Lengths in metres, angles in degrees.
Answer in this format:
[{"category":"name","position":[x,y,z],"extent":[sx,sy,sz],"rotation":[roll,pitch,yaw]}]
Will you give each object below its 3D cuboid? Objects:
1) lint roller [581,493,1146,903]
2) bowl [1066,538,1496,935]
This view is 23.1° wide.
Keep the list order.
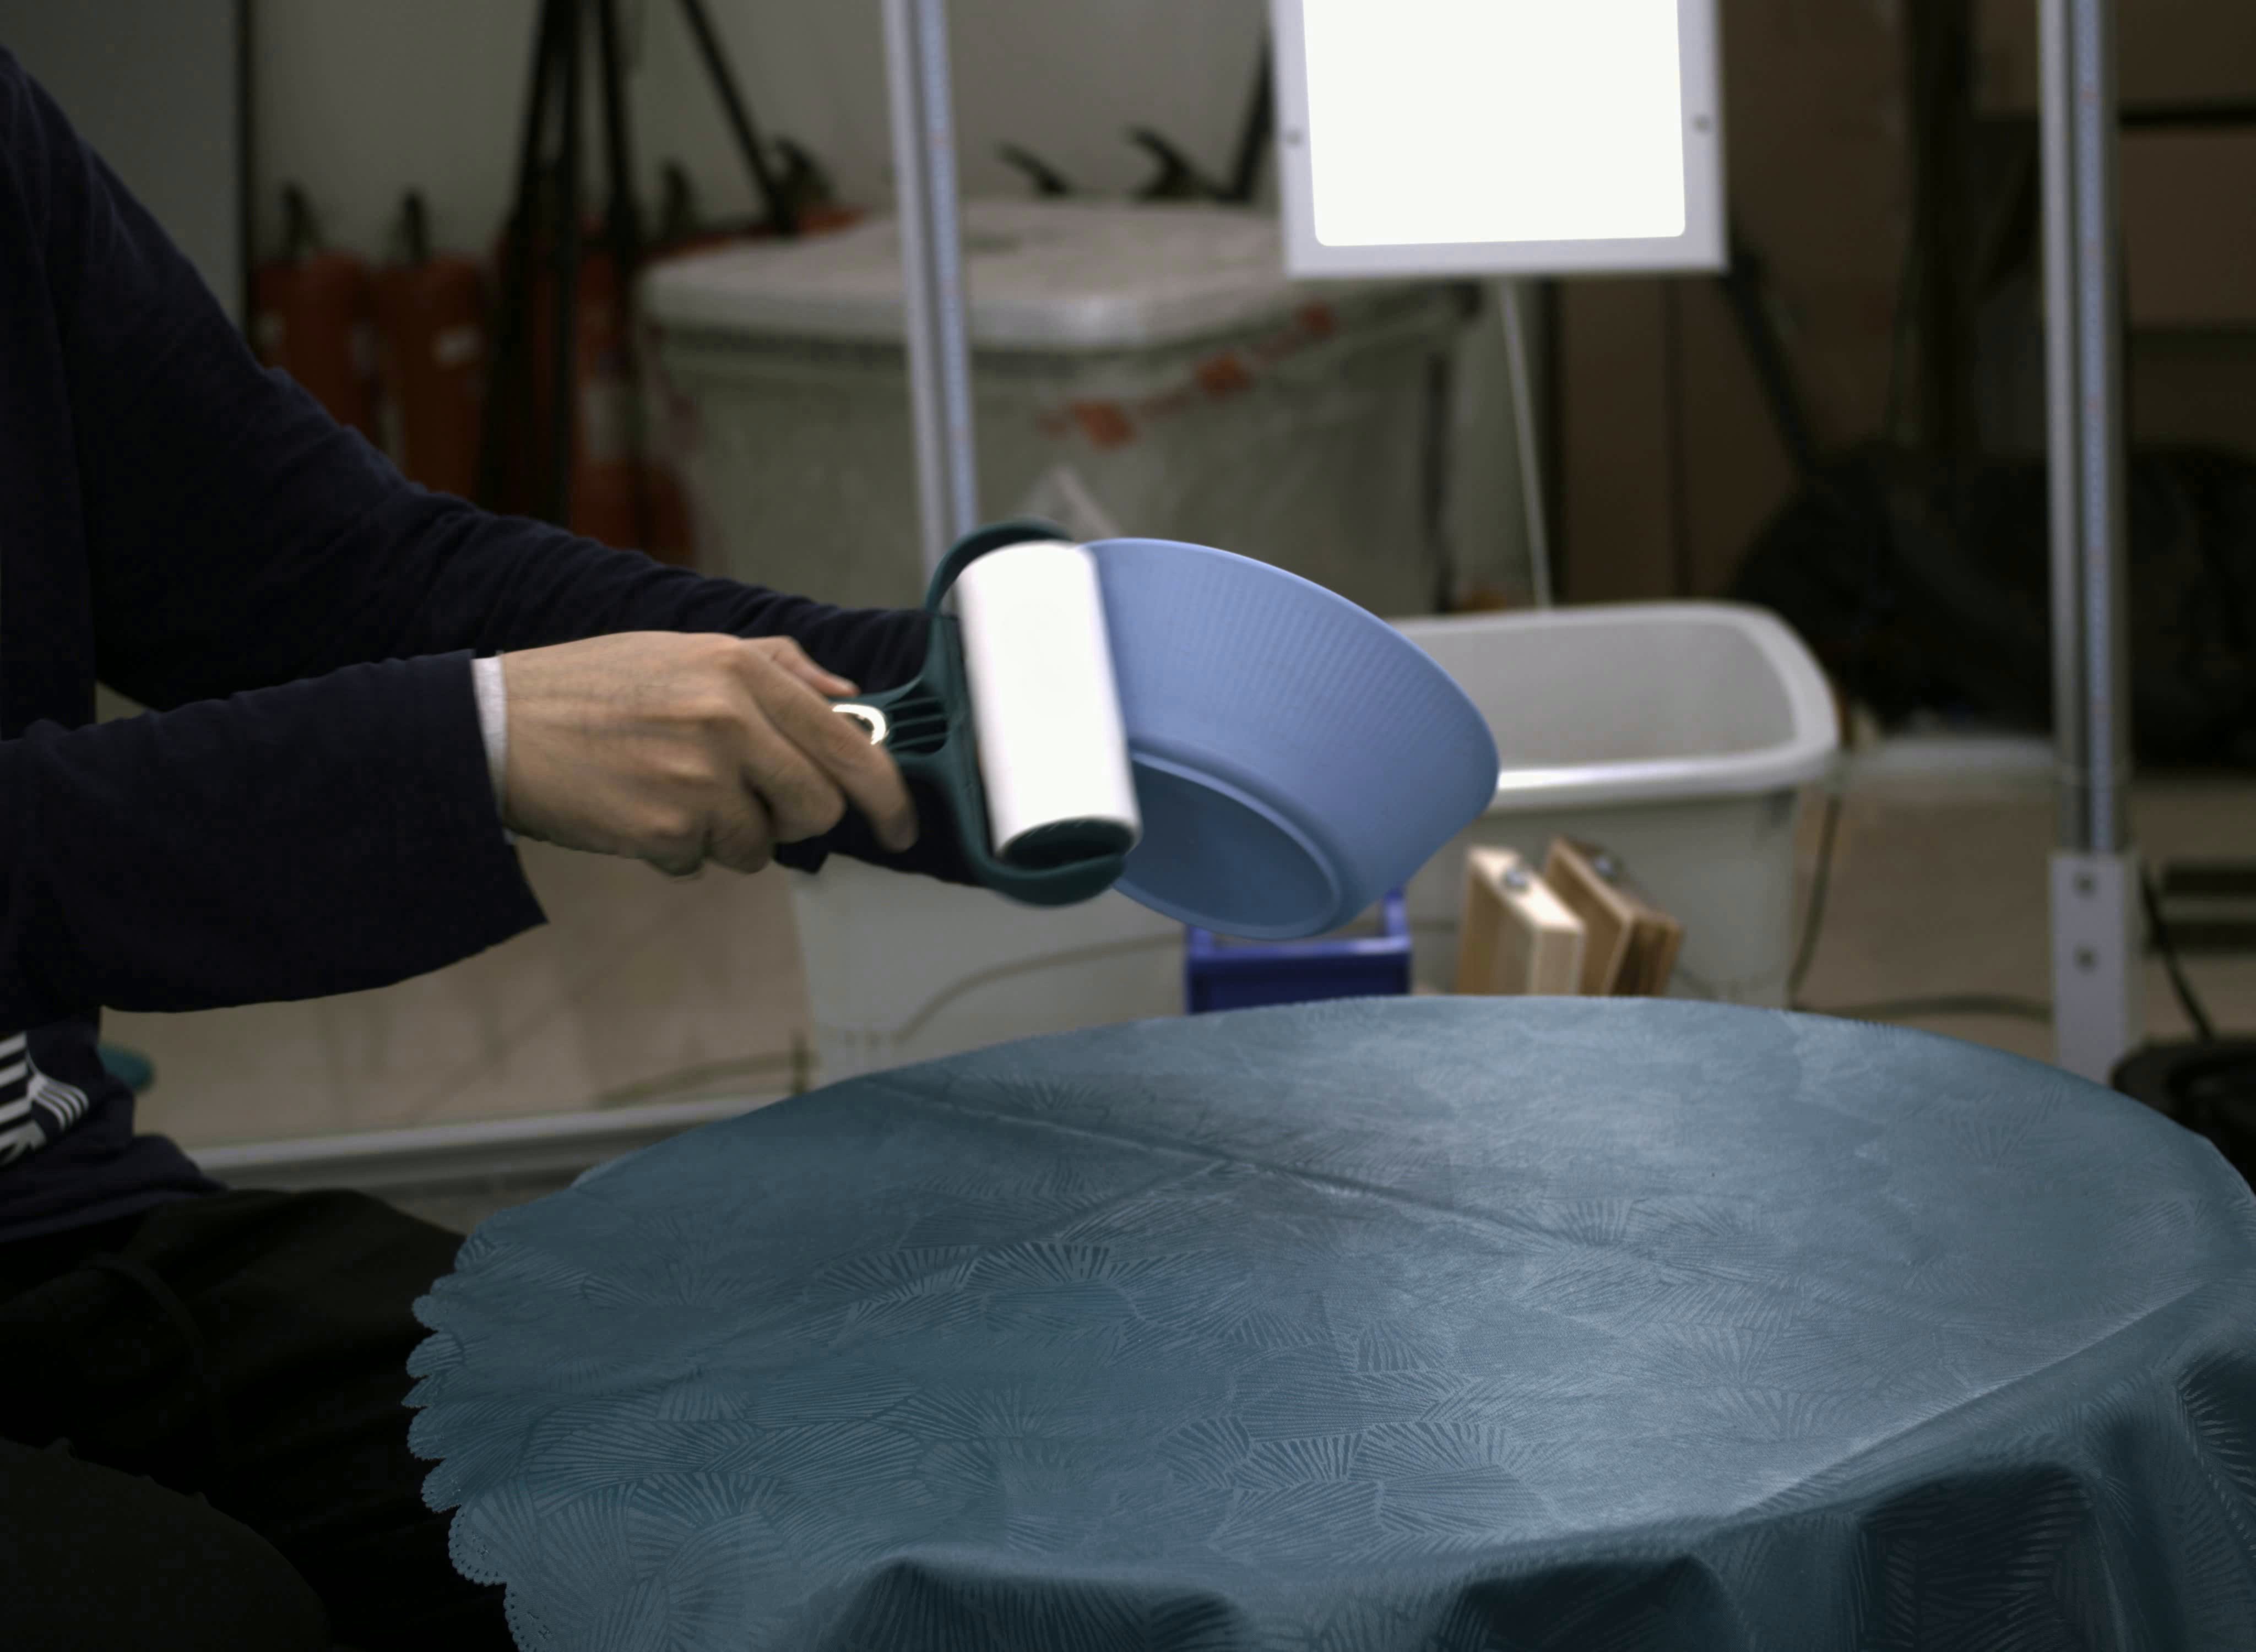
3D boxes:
[{"category":"lint roller","position":[-0.090,-0.031,1.794],"extent":[0.179,0.134,0.048],"rotation":[-9,-22,-2]},{"category":"bowl","position":[0.032,-0.021,1.865],"extent":[0.179,0.174,0.069],"rotation":[5,58,35]}]
